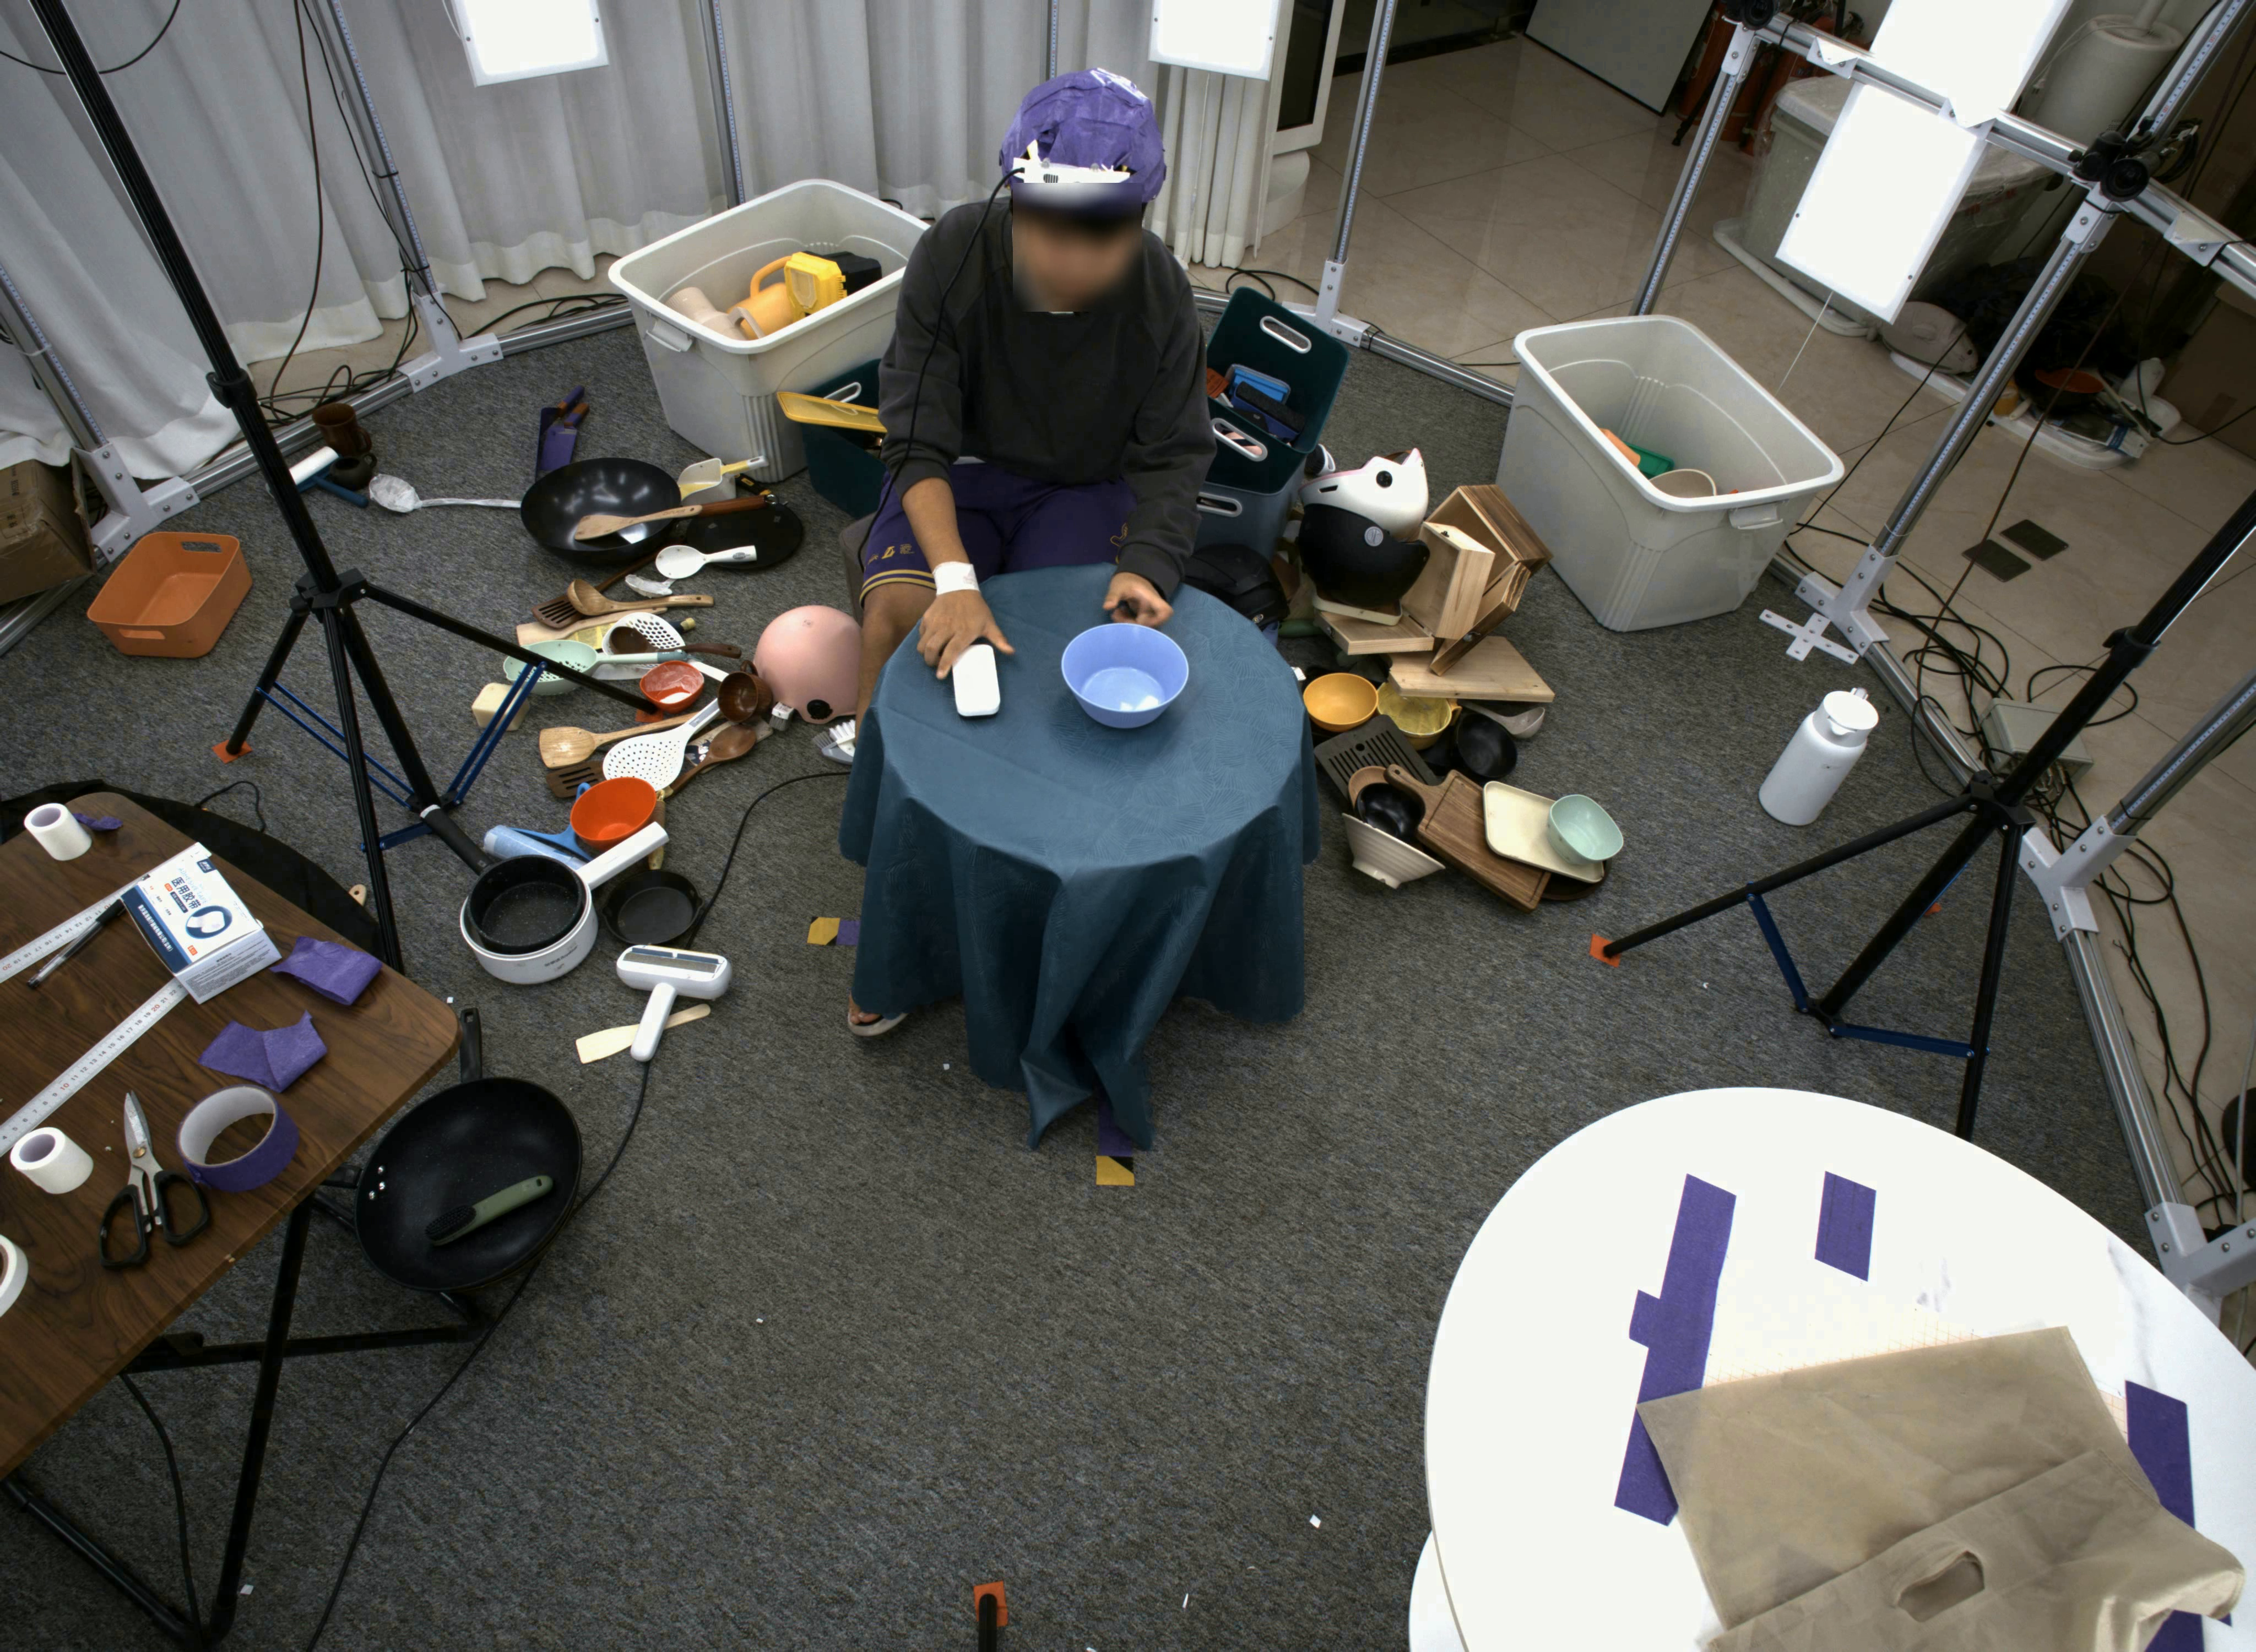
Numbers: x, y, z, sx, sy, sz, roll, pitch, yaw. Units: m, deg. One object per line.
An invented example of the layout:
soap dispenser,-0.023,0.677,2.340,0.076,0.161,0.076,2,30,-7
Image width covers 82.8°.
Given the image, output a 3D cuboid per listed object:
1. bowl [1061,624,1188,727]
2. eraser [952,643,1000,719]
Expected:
bowl,-0.007,-0.201,1.795,0.176,0.068,0.180,2,49,-3
eraser,-0.213,-0.207,1.811,0.063,0.034,0.134,-2,51,-8
